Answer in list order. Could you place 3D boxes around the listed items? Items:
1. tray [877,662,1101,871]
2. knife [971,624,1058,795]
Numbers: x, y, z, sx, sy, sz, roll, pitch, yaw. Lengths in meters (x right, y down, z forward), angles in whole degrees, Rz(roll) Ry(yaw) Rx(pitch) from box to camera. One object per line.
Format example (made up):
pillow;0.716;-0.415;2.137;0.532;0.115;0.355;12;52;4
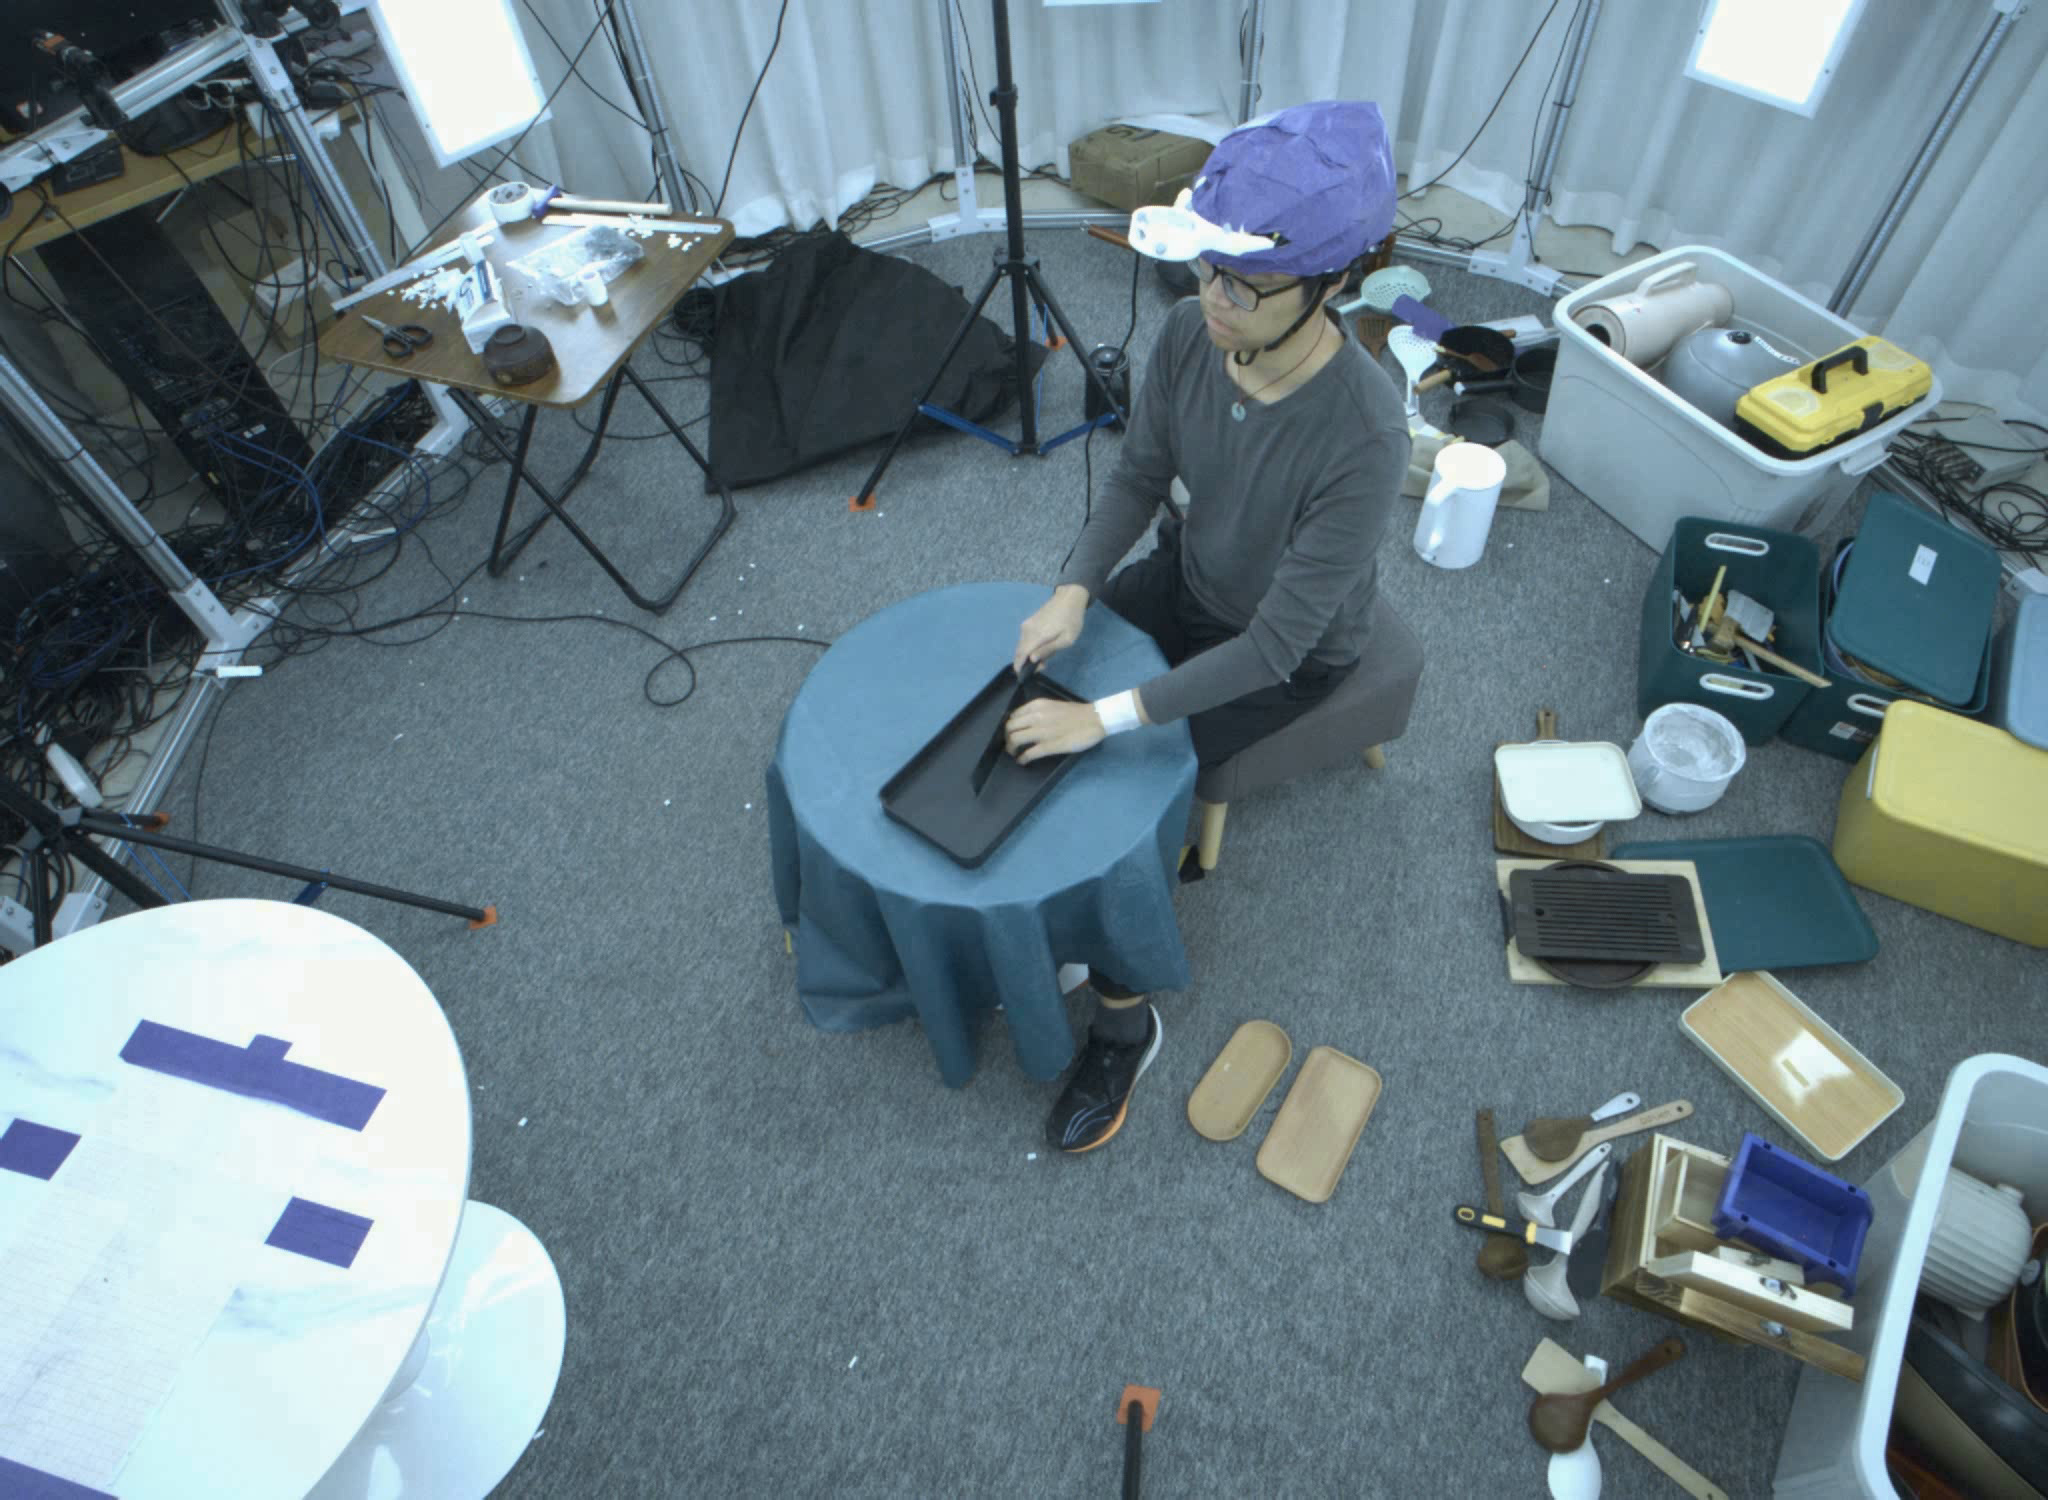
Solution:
tray;-0.047;0.017;1.761;0.181;0.037;0.319;30;61;21
knife;-0.013;-0.066;1.787;0.020;0.082;0.302;16;60;16
